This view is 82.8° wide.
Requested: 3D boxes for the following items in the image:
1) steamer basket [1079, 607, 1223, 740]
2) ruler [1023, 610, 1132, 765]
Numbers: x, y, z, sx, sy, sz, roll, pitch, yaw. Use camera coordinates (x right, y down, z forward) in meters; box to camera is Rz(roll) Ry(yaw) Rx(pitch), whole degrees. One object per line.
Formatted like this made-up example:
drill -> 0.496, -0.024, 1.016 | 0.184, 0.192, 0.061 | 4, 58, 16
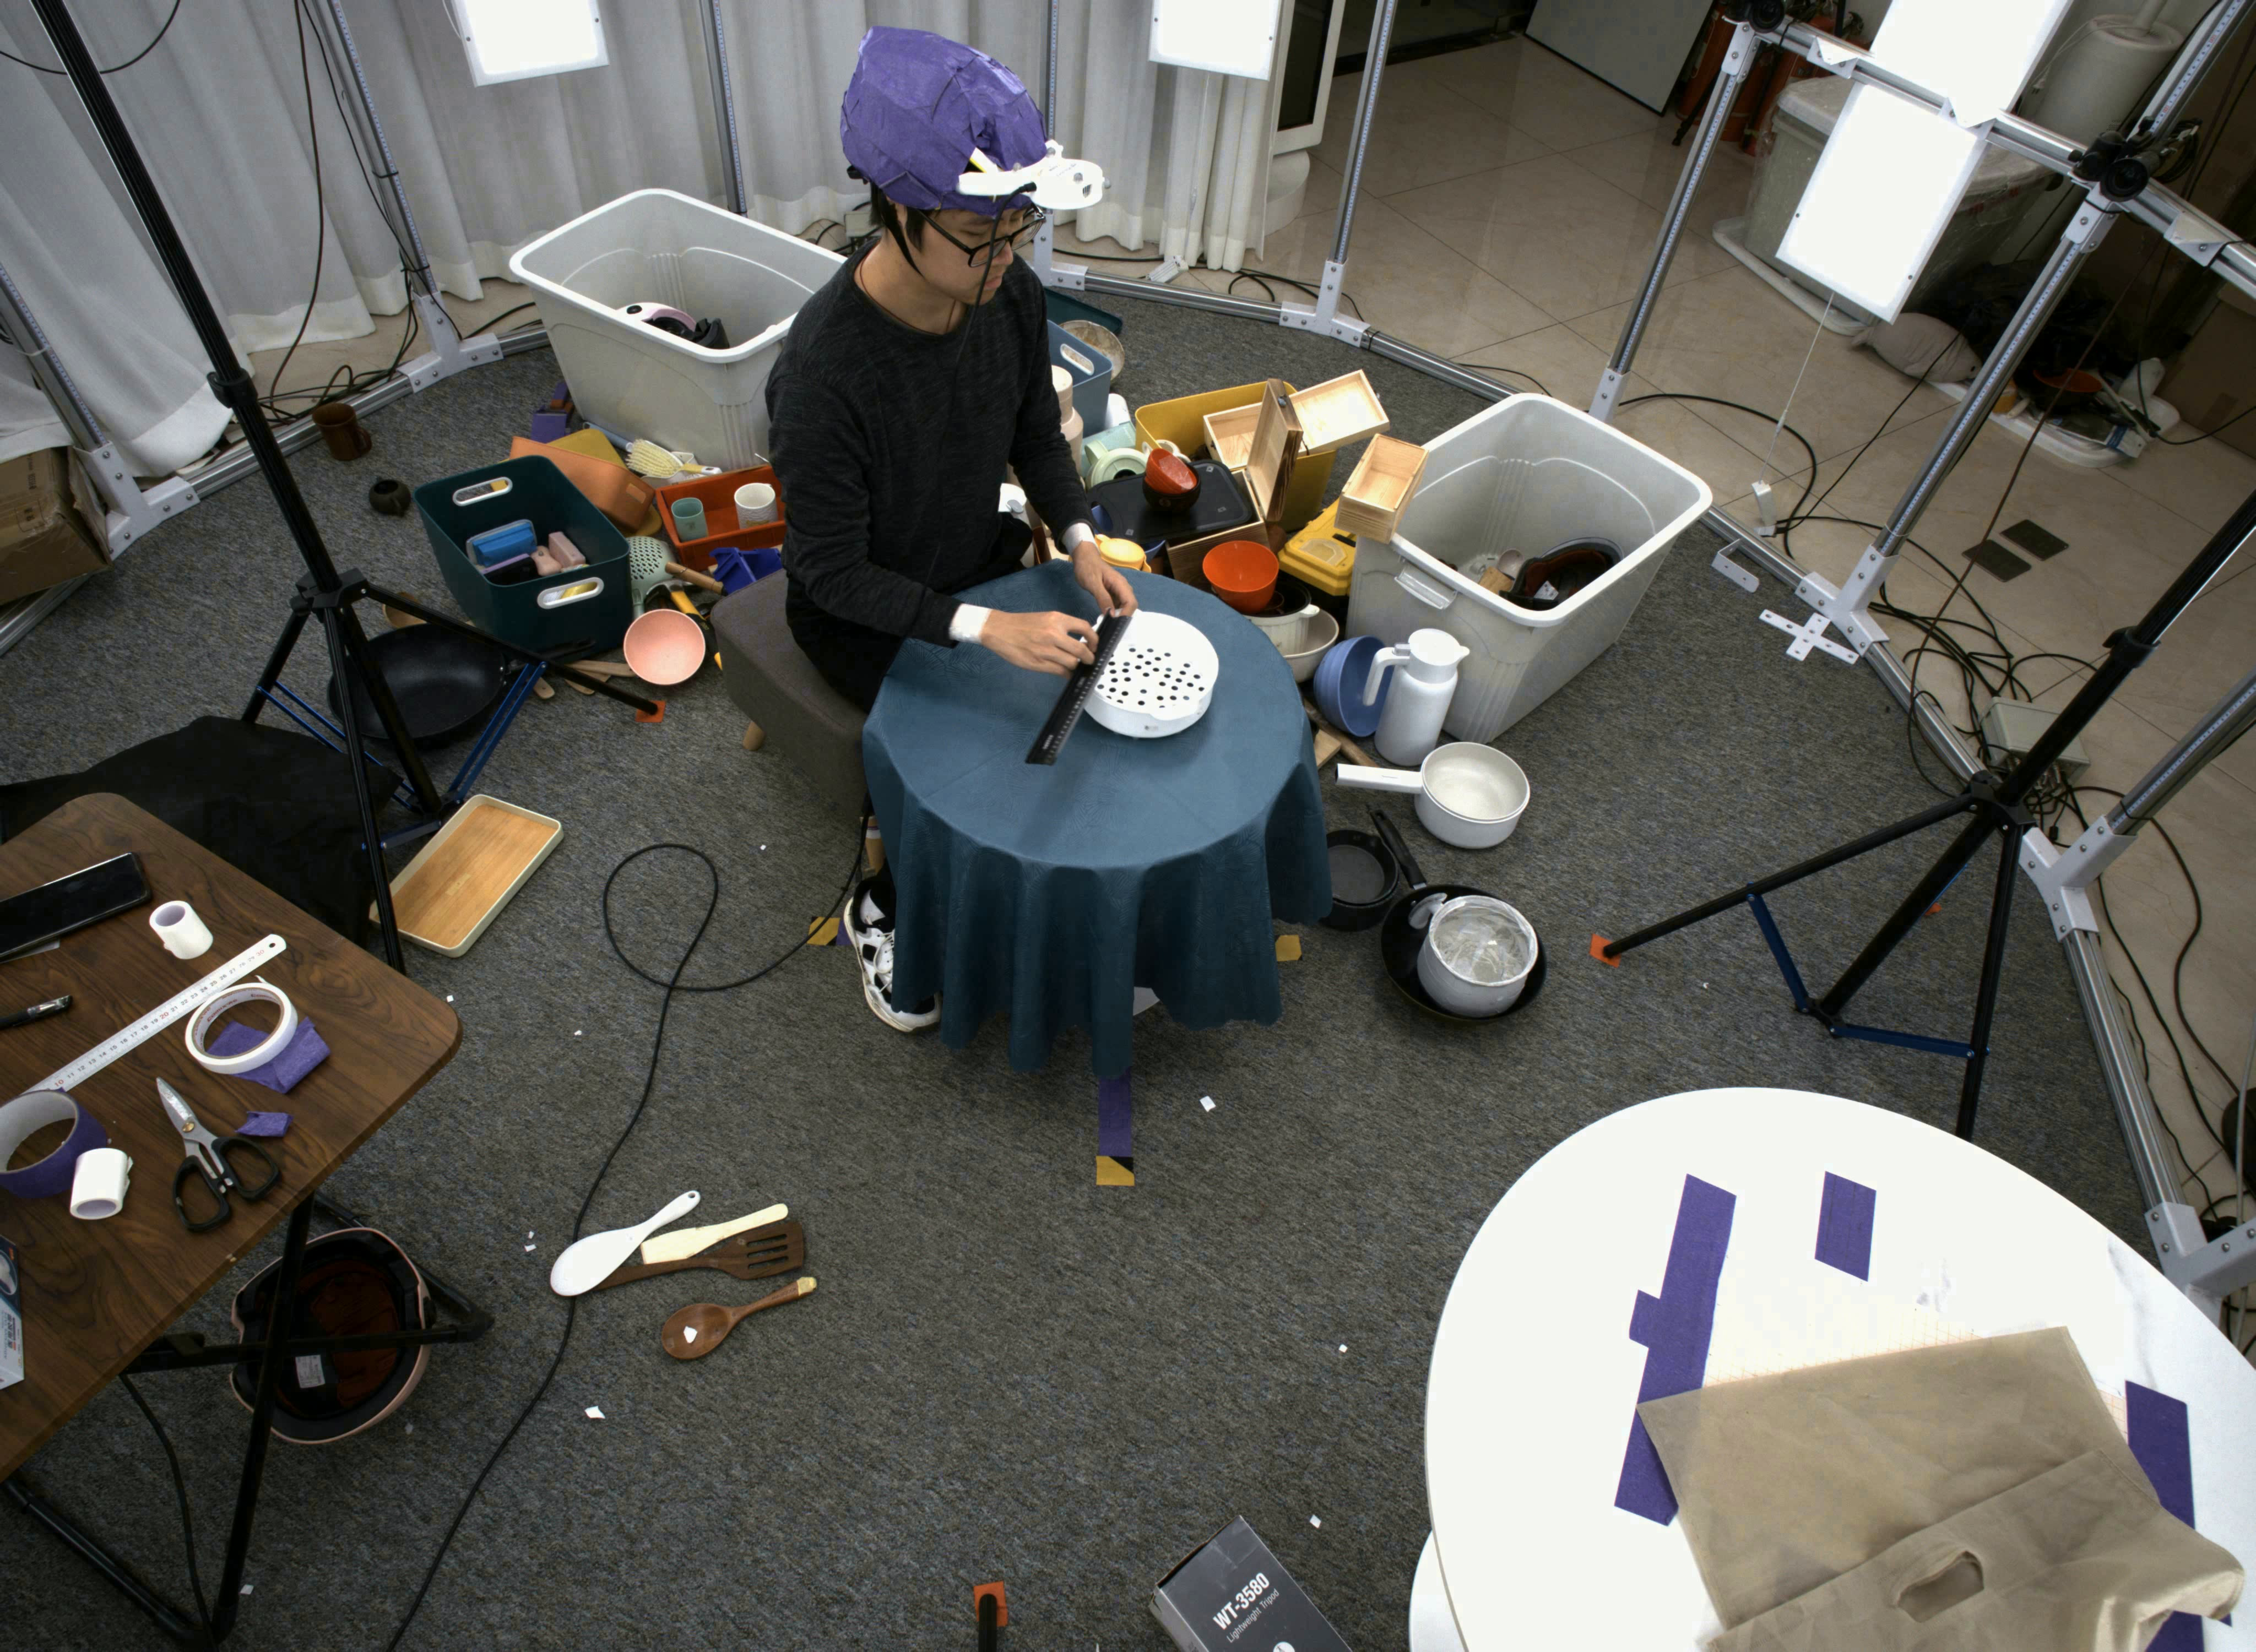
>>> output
steamer basket -> 0.031, -0.211, 1.811 | 0.202, 0.067, 0.236 | -17, 54, -18
ruler -> -0.064, -0.189, 1.687 | 0.039, 0.017, 0.319 | 7, 46, 20
